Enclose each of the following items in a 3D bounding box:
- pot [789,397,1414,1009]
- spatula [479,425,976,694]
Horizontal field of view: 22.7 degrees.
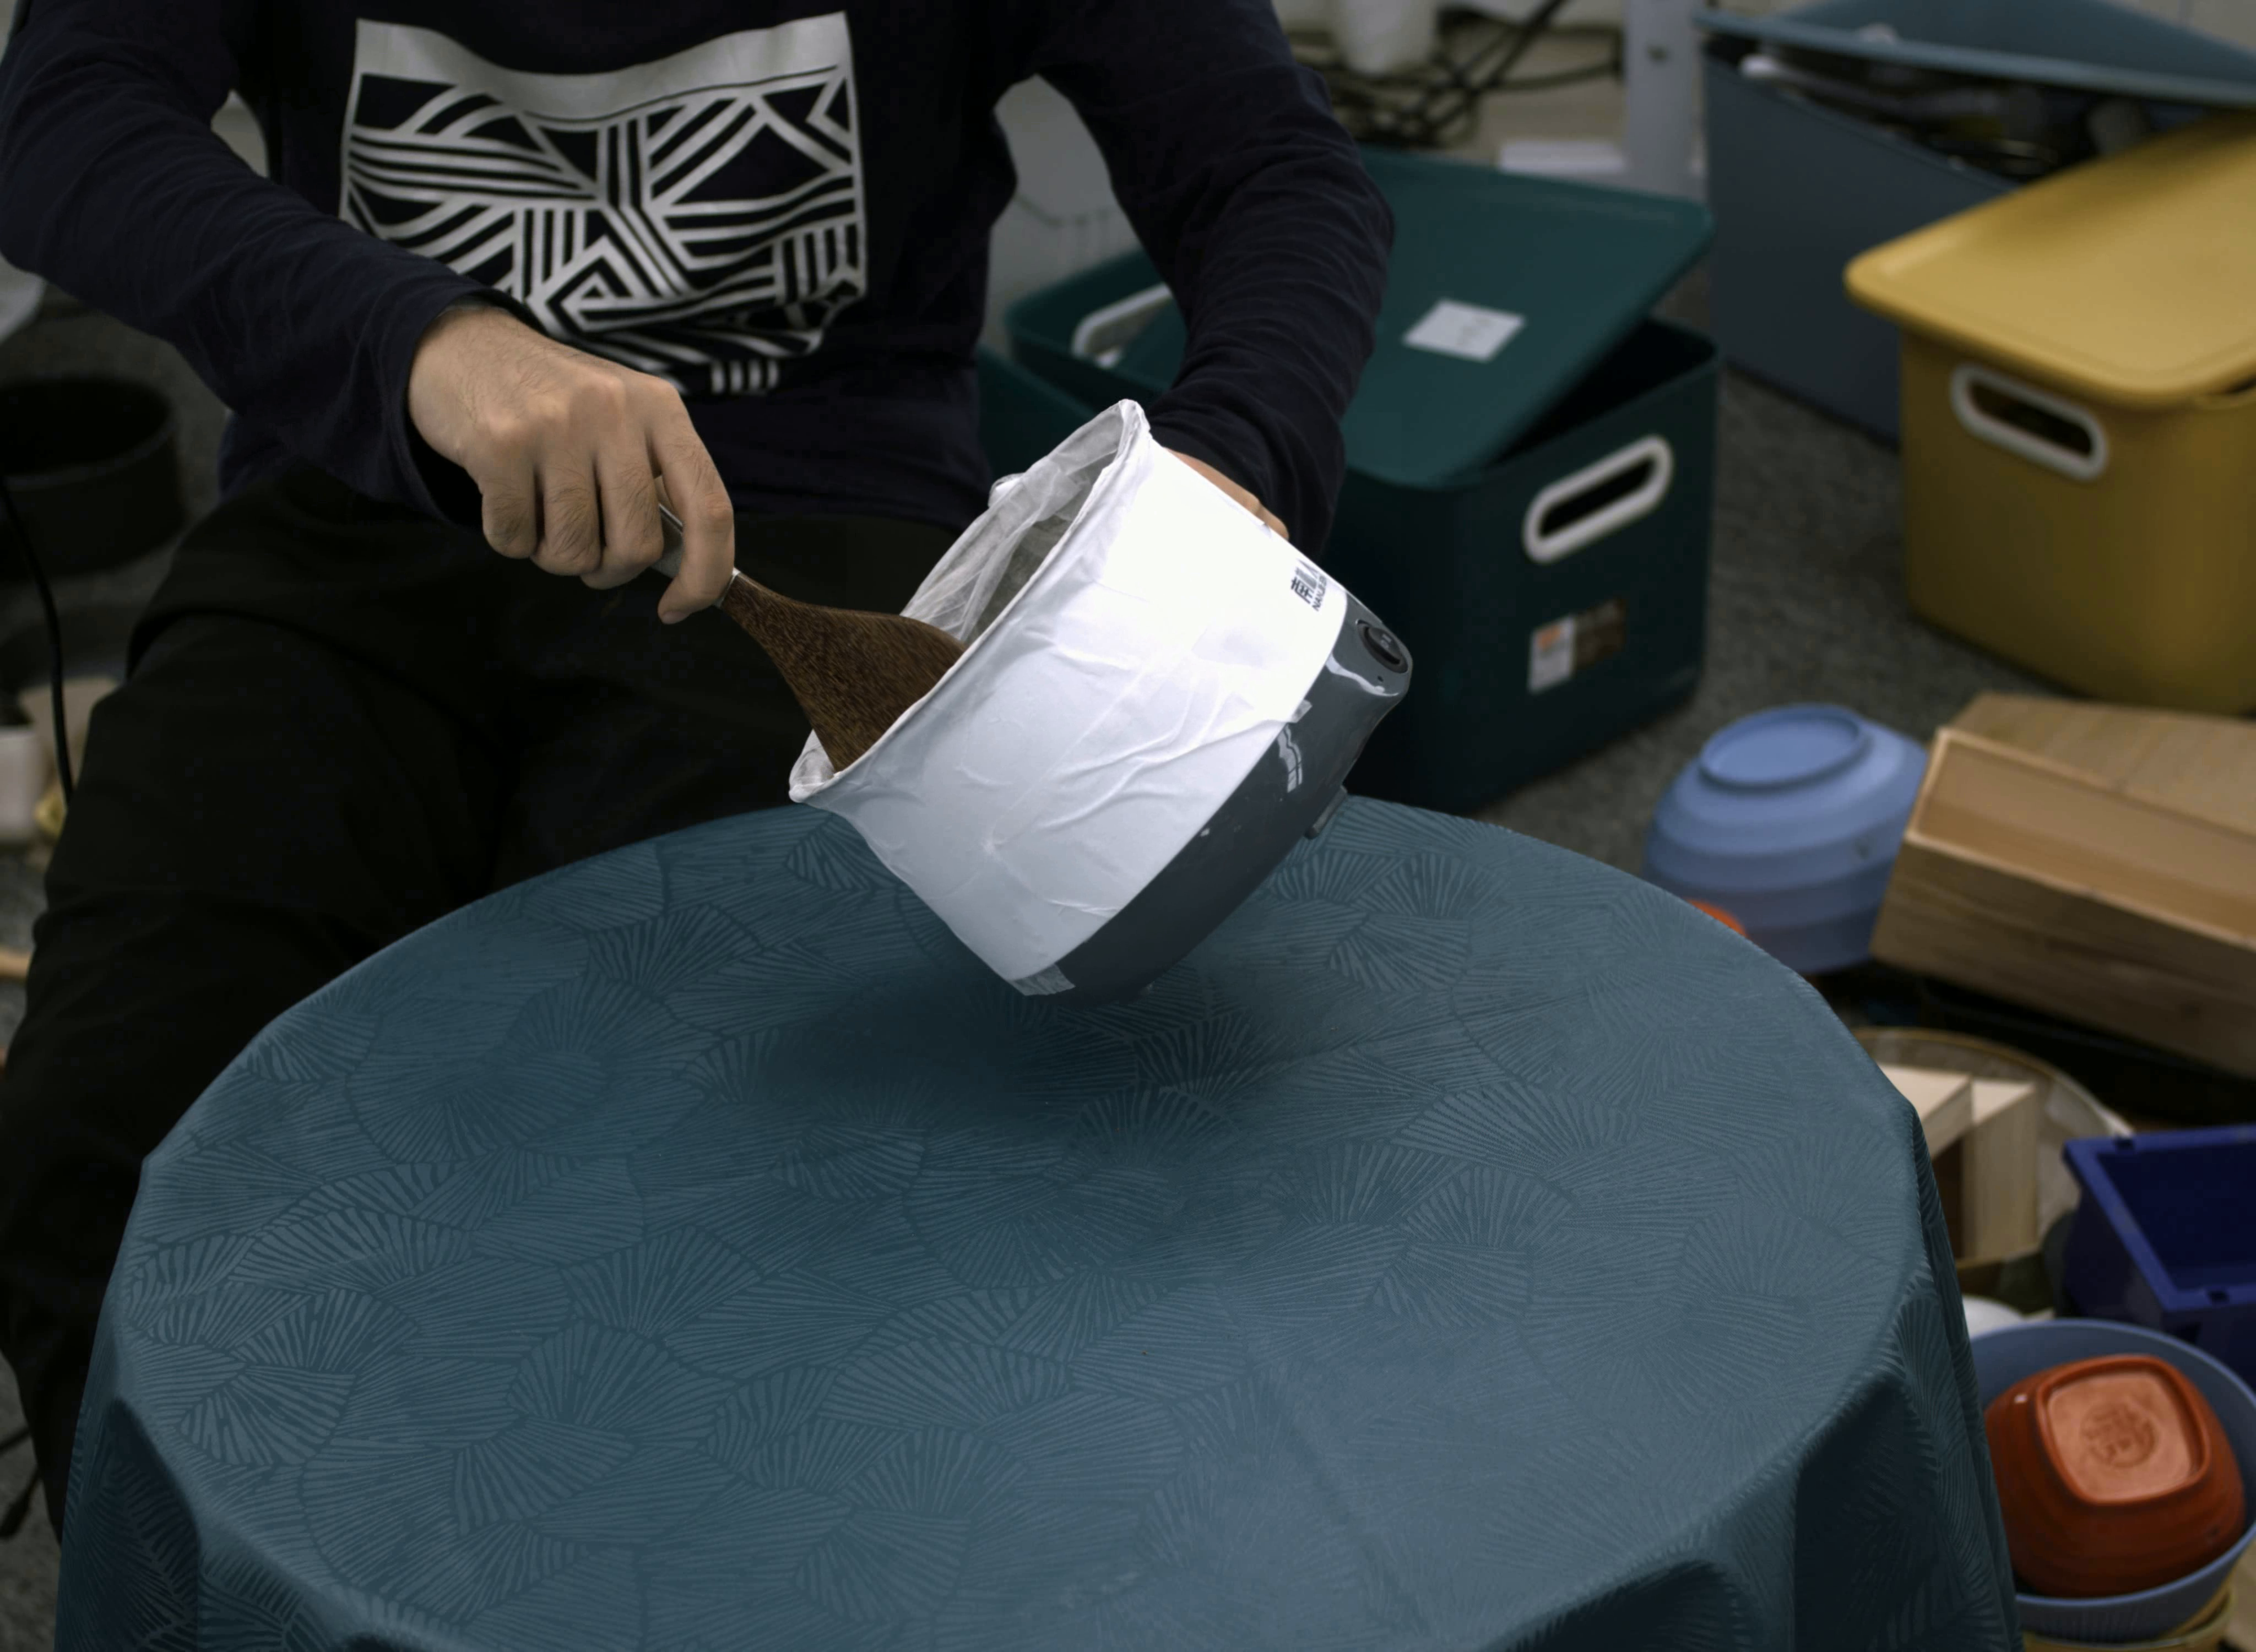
[{"bbox_3d":[-0.006,-0.048,1.934,0.177,0.136,0.237,-42,14,19],"label":"pot"},{"bbox_3d":[-0.131,-0.088,1.925,0.215,0.071,0.009,26,67,14],"label":"spatula"}]
